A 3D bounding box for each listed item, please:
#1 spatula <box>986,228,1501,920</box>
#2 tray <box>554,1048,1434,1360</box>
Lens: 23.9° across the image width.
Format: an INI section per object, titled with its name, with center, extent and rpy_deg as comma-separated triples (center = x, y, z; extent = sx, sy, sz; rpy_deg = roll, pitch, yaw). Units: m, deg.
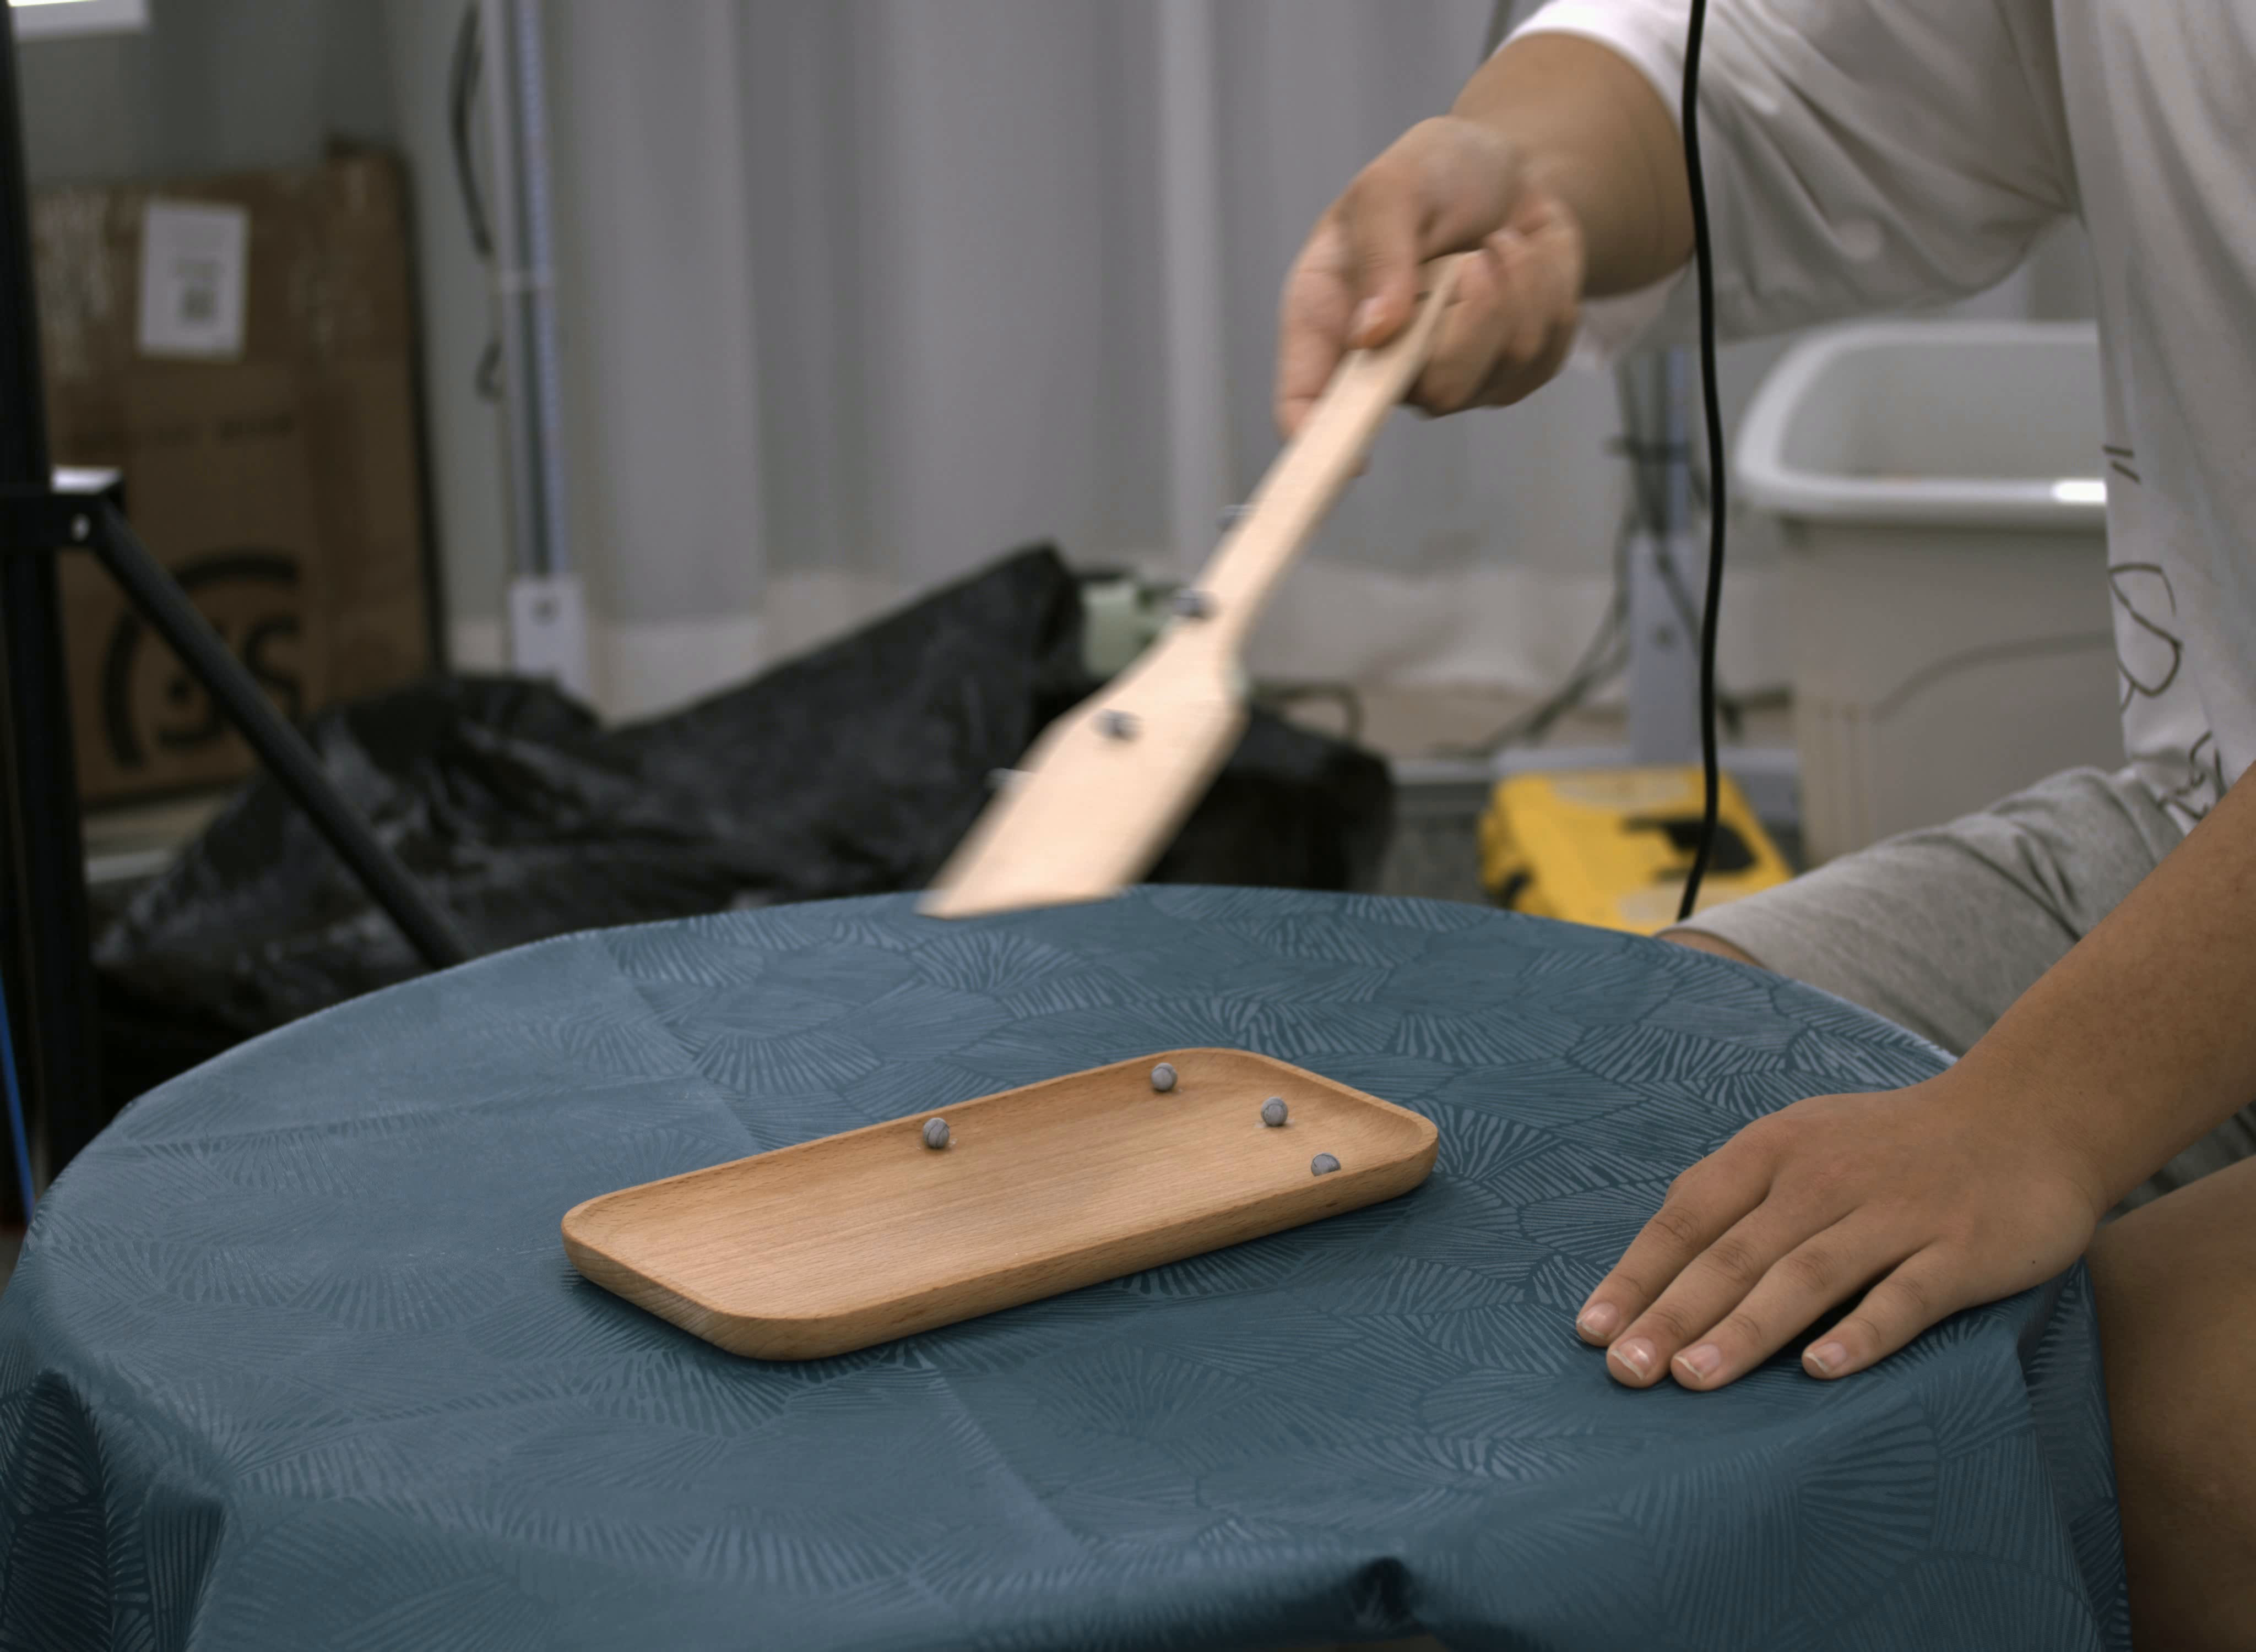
[spatula]
center = 0.045, -0.077, 1.549
extent = 0.073, 0.010, 0.292
rpy_deg = -8, 40, 42
[tray]
center = -0.036, 0.108, 1.538
extent = 0.245, 0.023, 0.133
rpy_deg = -13, 17, -32
